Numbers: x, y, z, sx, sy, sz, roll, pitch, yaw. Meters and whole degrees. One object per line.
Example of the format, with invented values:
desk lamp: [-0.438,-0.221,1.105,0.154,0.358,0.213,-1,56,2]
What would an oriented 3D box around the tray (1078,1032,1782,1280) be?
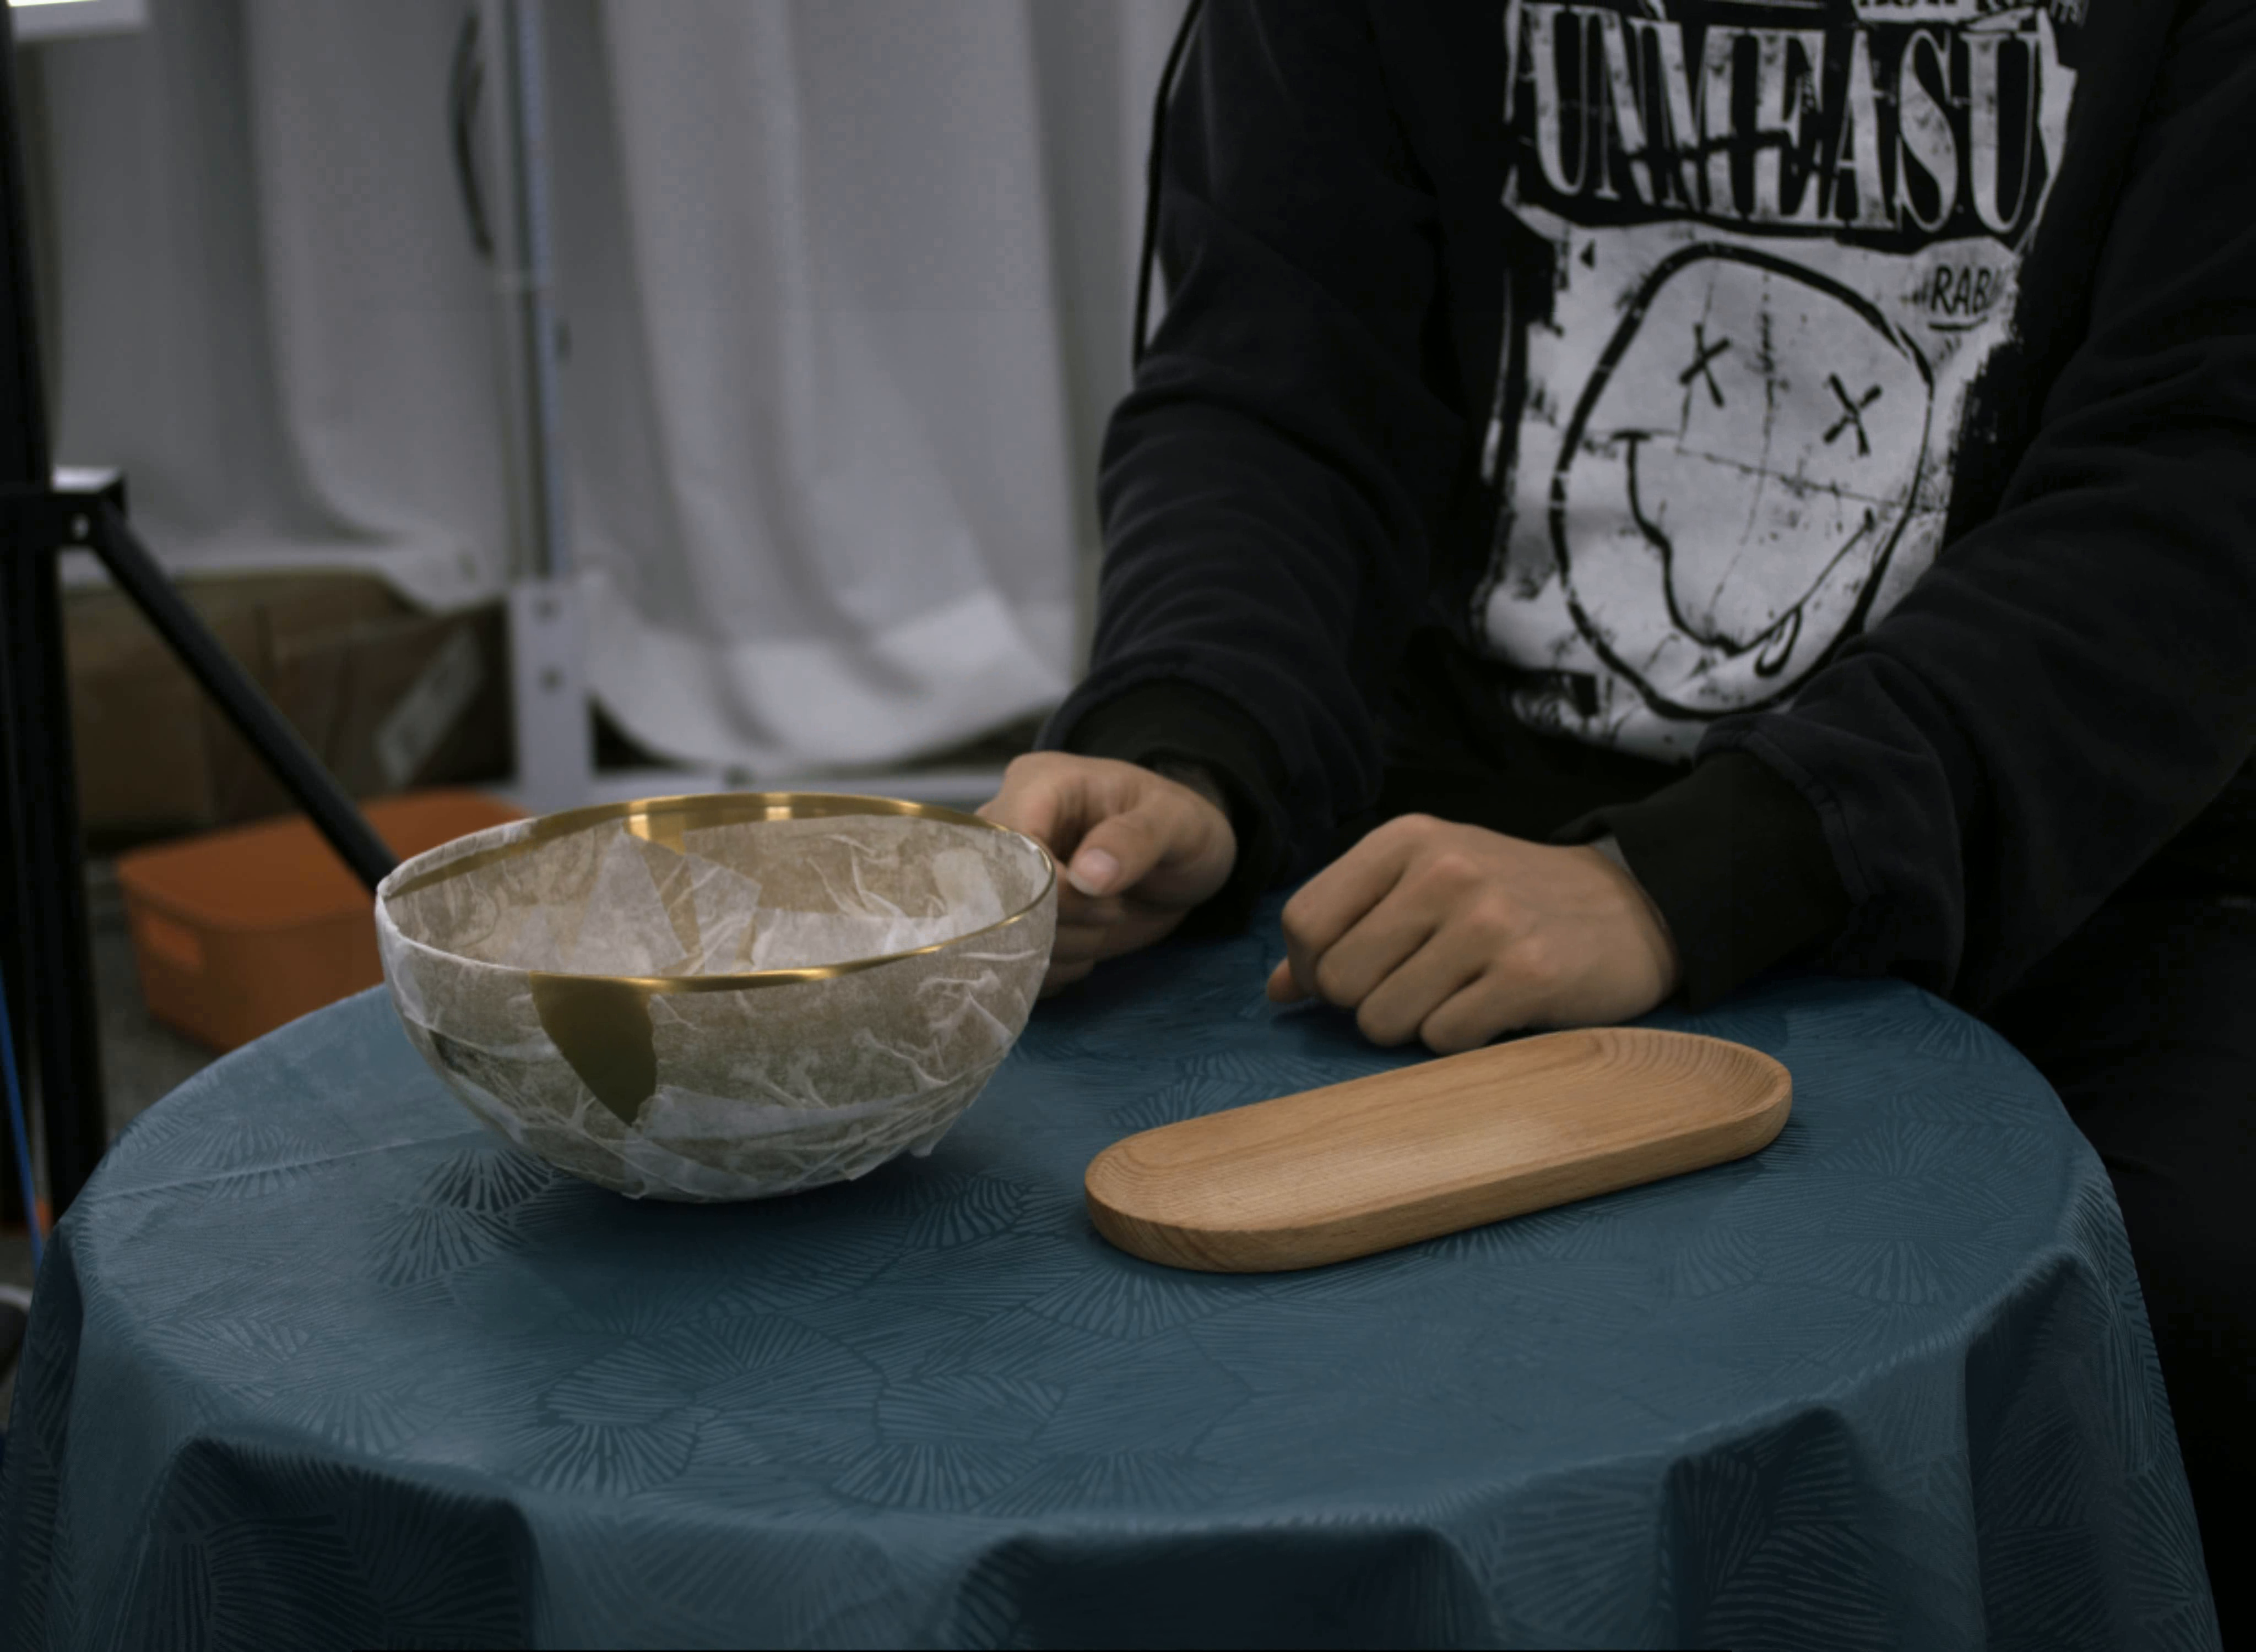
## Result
tray: [0.091,0.096,1.556,0.226,0.020,0.104,-14,17,-29]

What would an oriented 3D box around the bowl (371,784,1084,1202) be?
bowl: [-0.116,0.058,1.584,0.213,0.094,0.216,-4,14,-1]
